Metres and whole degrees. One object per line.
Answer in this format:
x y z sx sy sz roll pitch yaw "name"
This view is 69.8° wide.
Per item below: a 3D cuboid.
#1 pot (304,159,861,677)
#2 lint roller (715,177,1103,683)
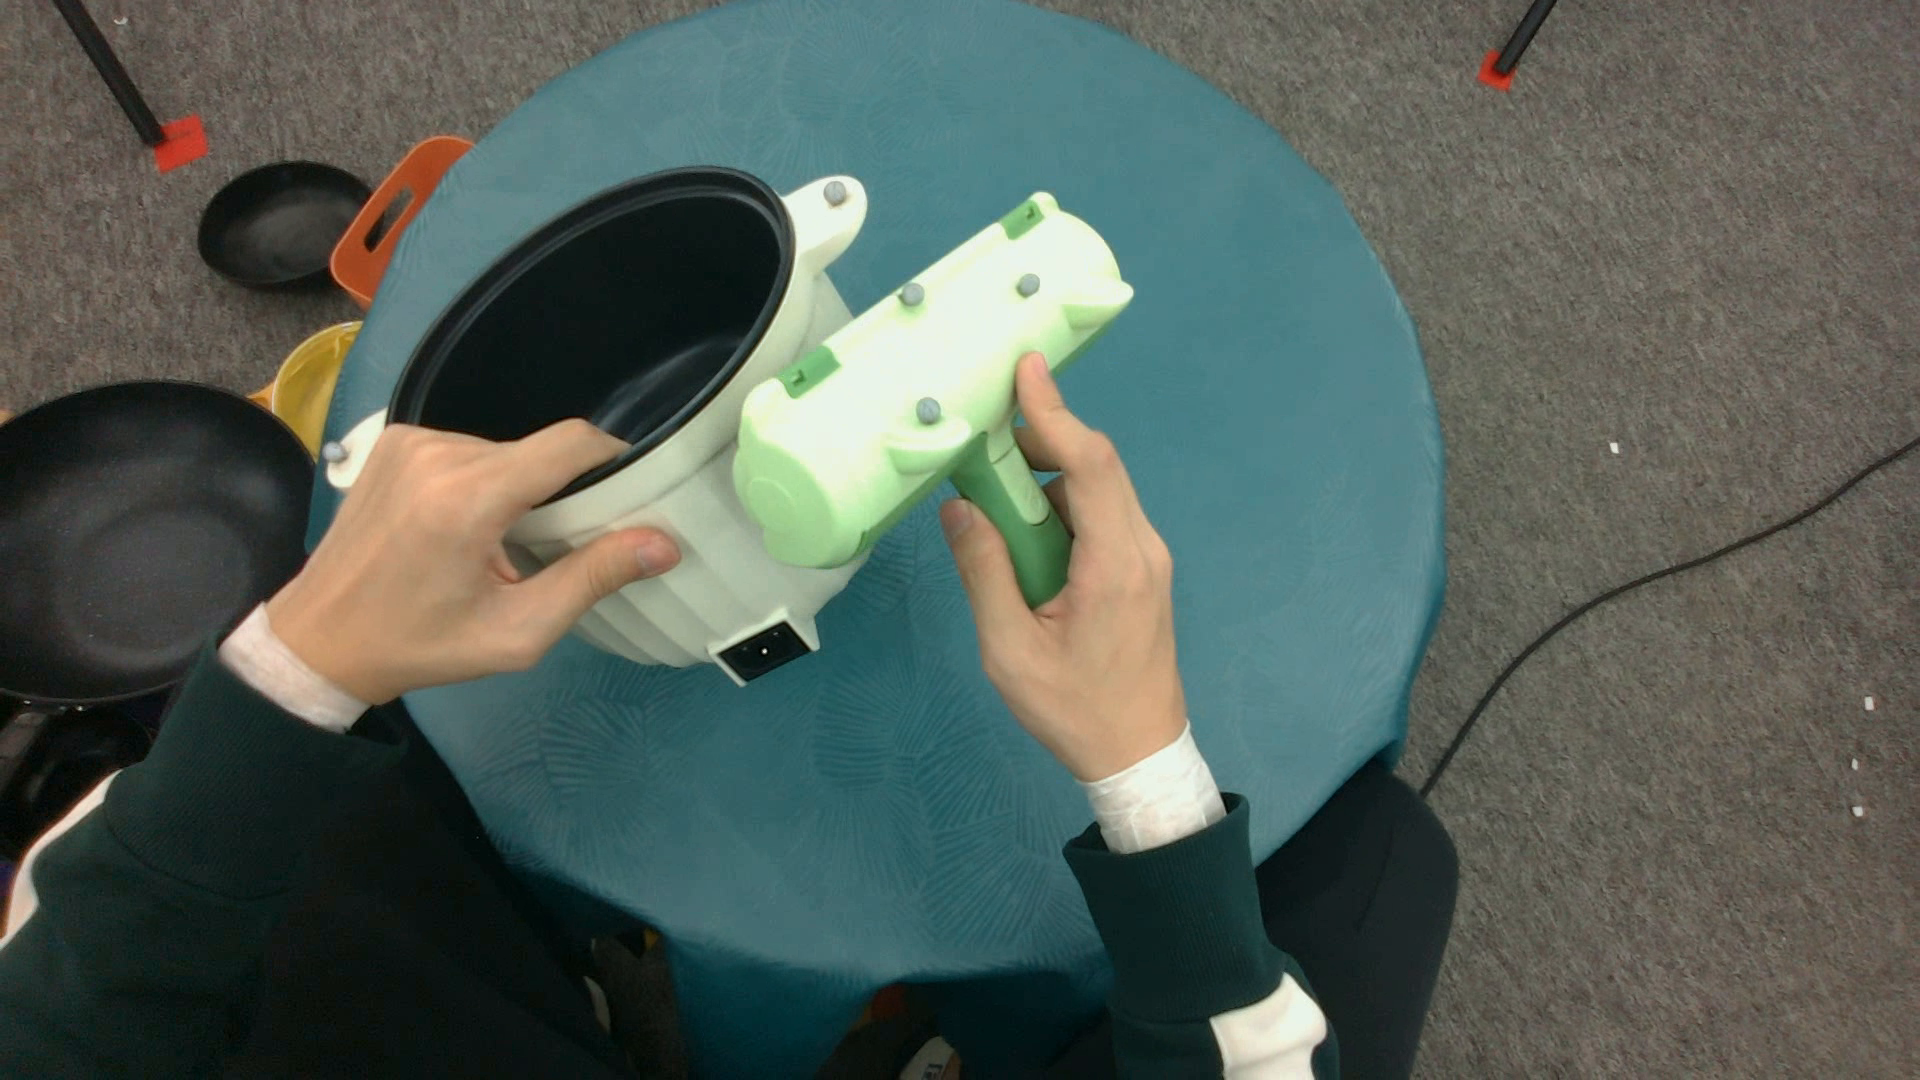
-0.132 -0.049 0.580 0.240 0.142 0.191 -27 49 5 "pot"
0.020 -0.025 0.518 0.183 0.082 0.199 56 45 -13 "lint roller"
